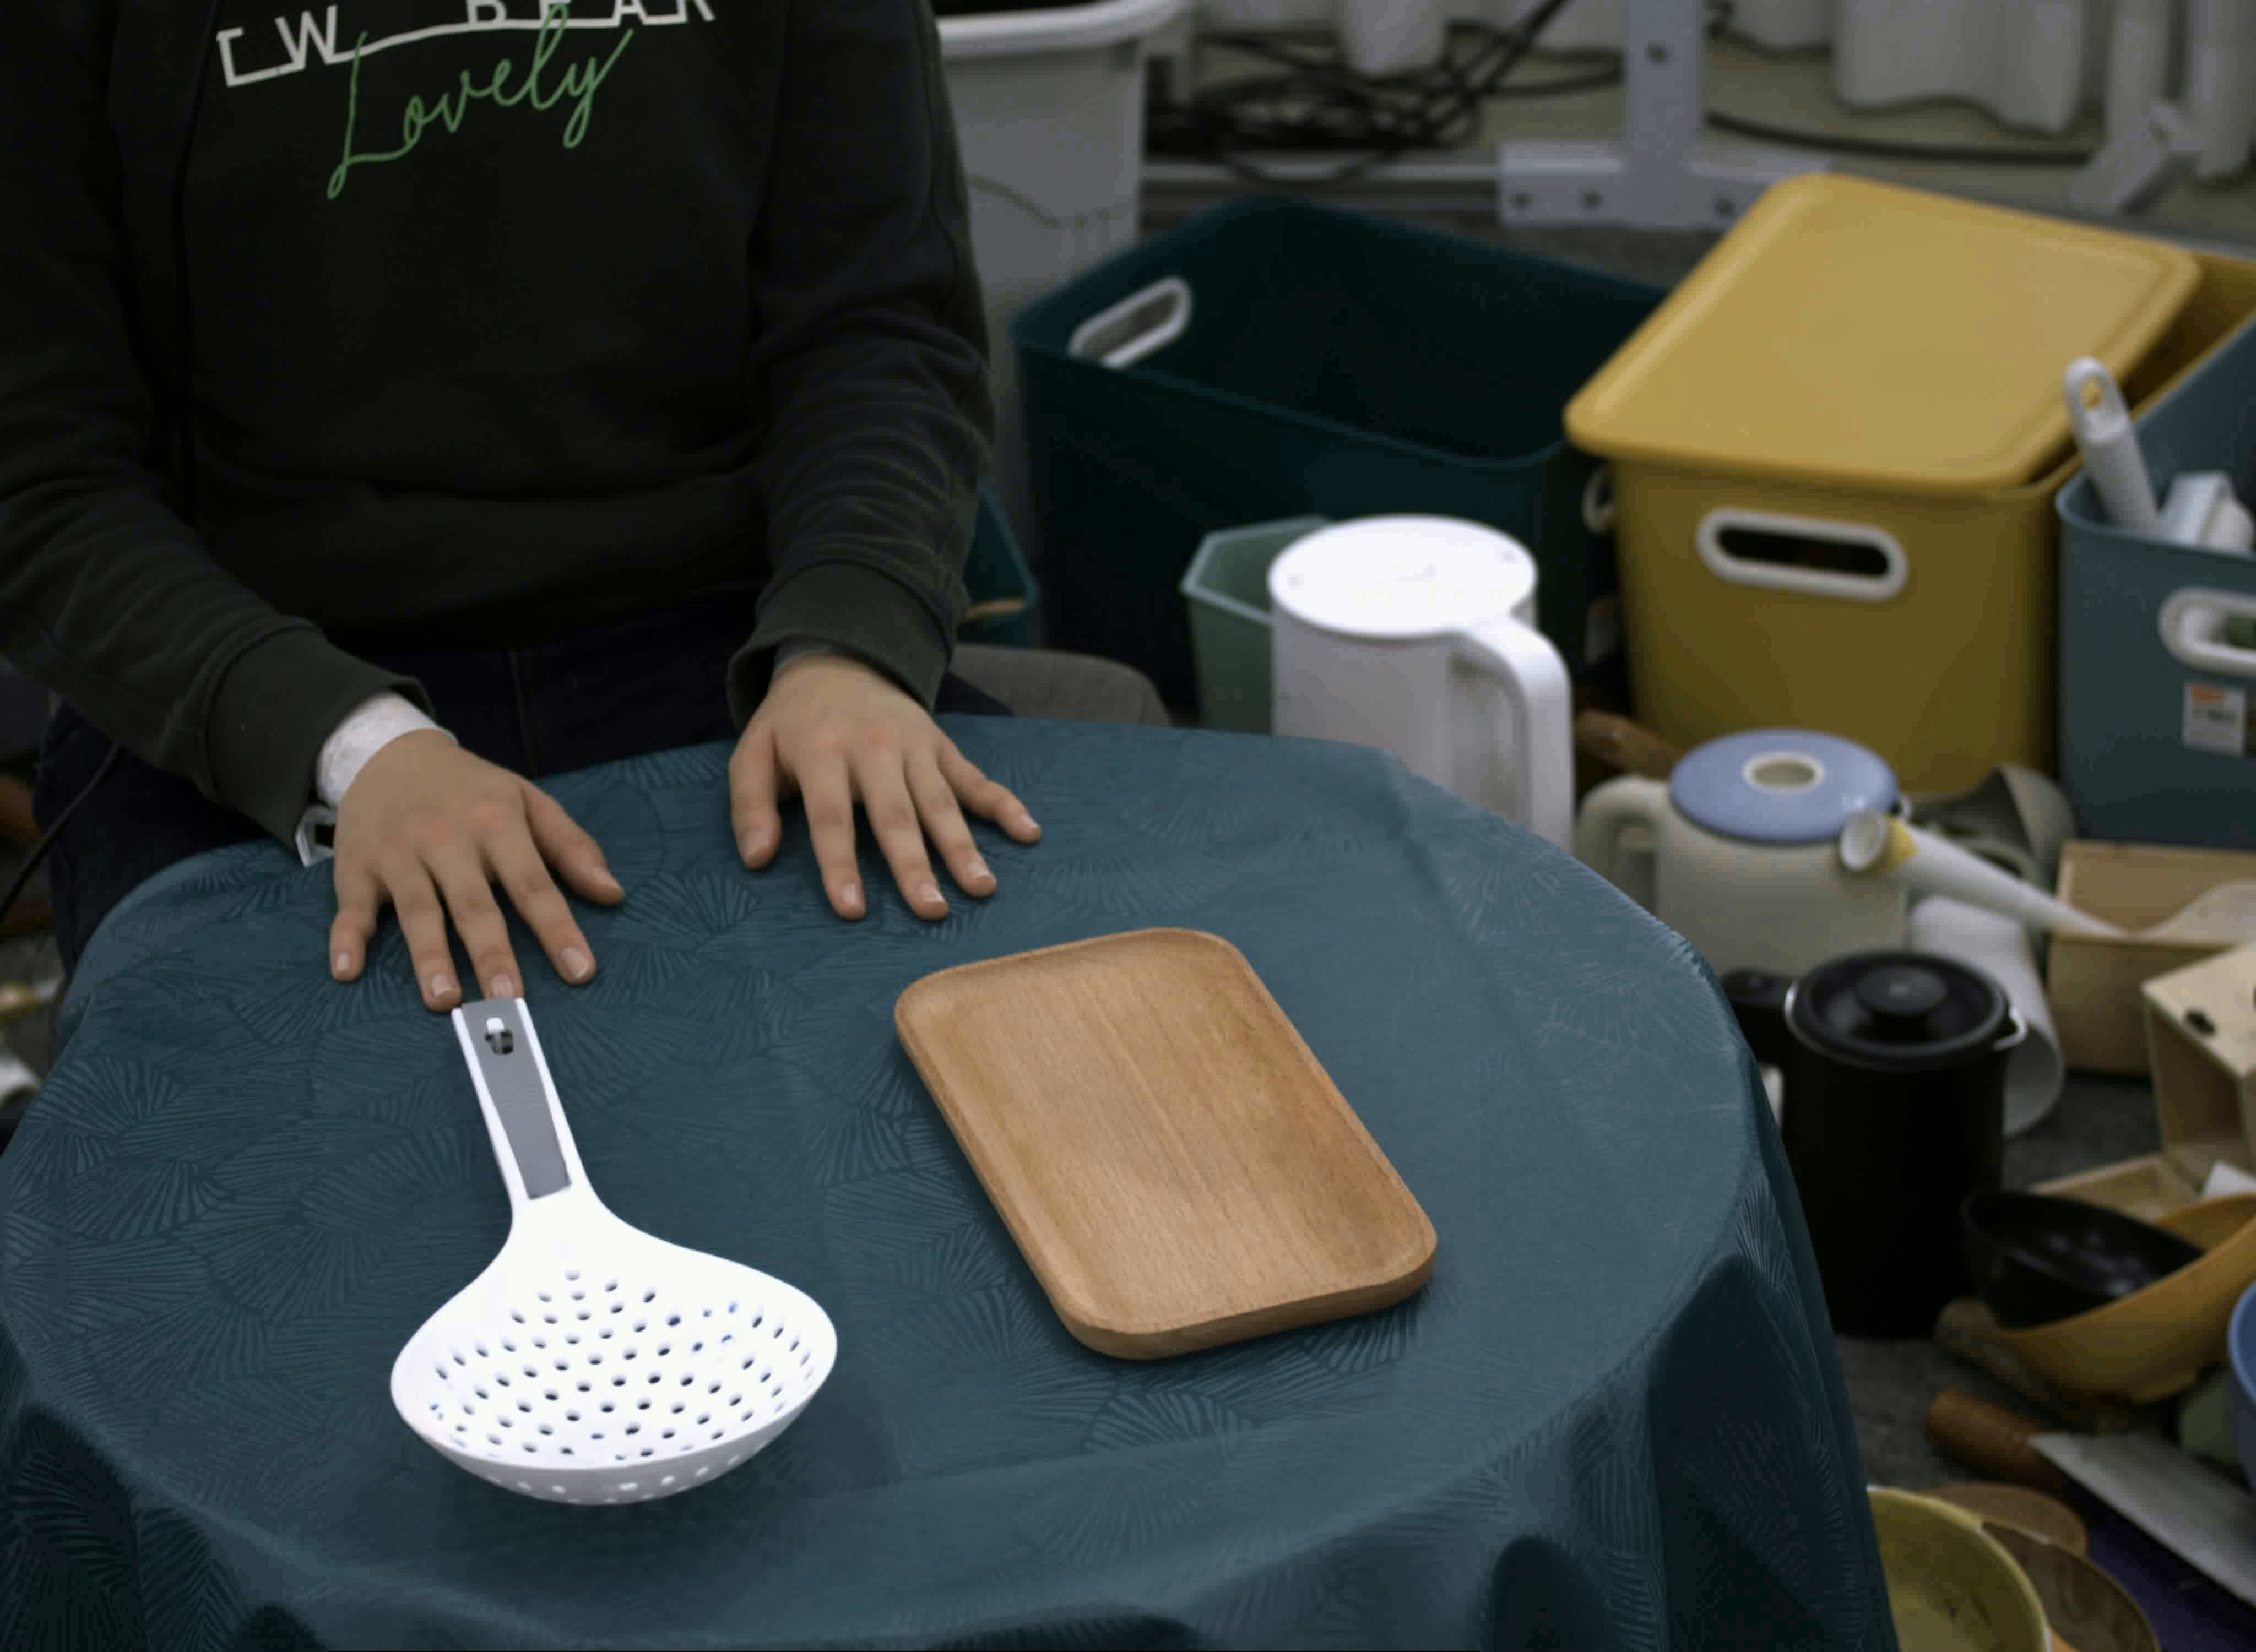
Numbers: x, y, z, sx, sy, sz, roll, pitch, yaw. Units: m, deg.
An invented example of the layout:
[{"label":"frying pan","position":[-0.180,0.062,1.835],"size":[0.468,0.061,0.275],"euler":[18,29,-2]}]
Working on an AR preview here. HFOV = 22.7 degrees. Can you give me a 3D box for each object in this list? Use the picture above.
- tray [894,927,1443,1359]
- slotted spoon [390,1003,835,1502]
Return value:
[{"label":"tray","position":[0.010,0.103,1.878],"size":[0.130,0.022,0.253],"euler":[-9,27,-15]},{"label":"slotted spoon","position":[-0.182,0.131,1.812],"size":[0.136,0.045,0.353],"euler":[-7,26,-12]}]
